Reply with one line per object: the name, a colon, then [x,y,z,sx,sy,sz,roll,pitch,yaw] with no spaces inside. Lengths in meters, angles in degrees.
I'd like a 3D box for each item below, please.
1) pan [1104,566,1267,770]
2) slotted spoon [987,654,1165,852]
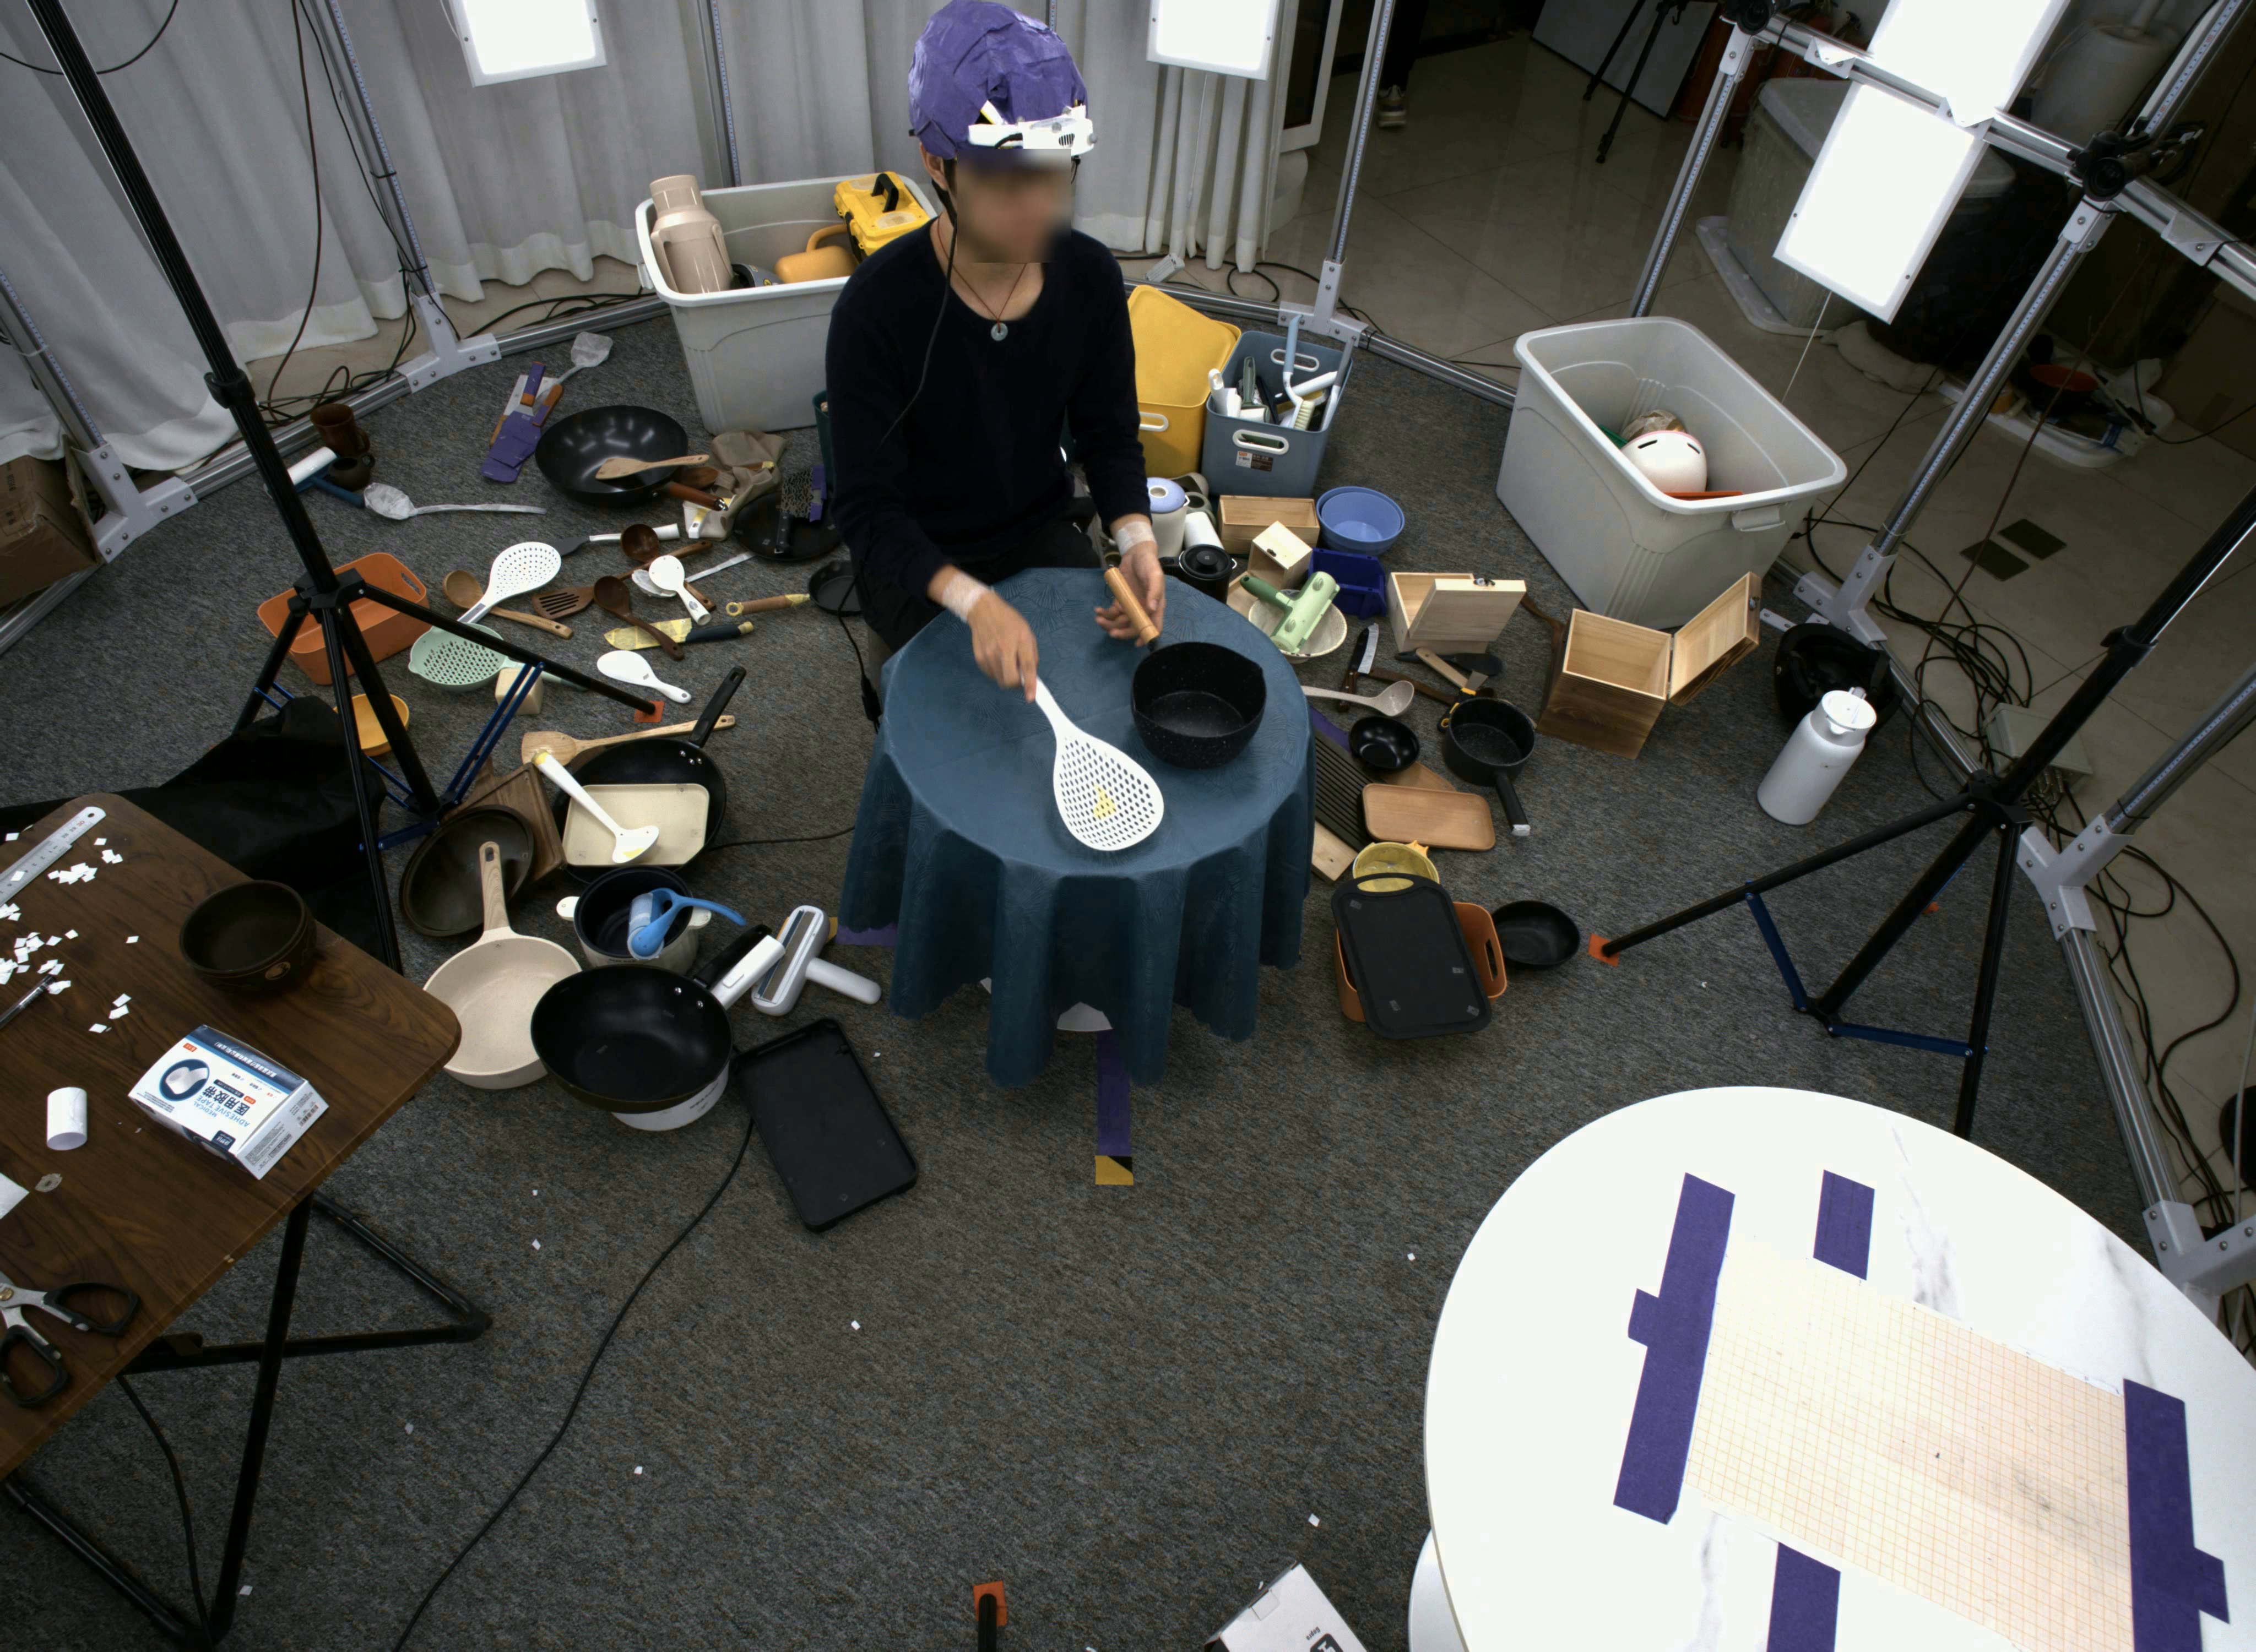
pan: [0.053,-0.222,1.796,0.208,0.105,0.350,-23,55,-21]
slotted spoon: [-0.084,-0.109,1.694,0.137,0.049,0.352,-29,72,-18]
